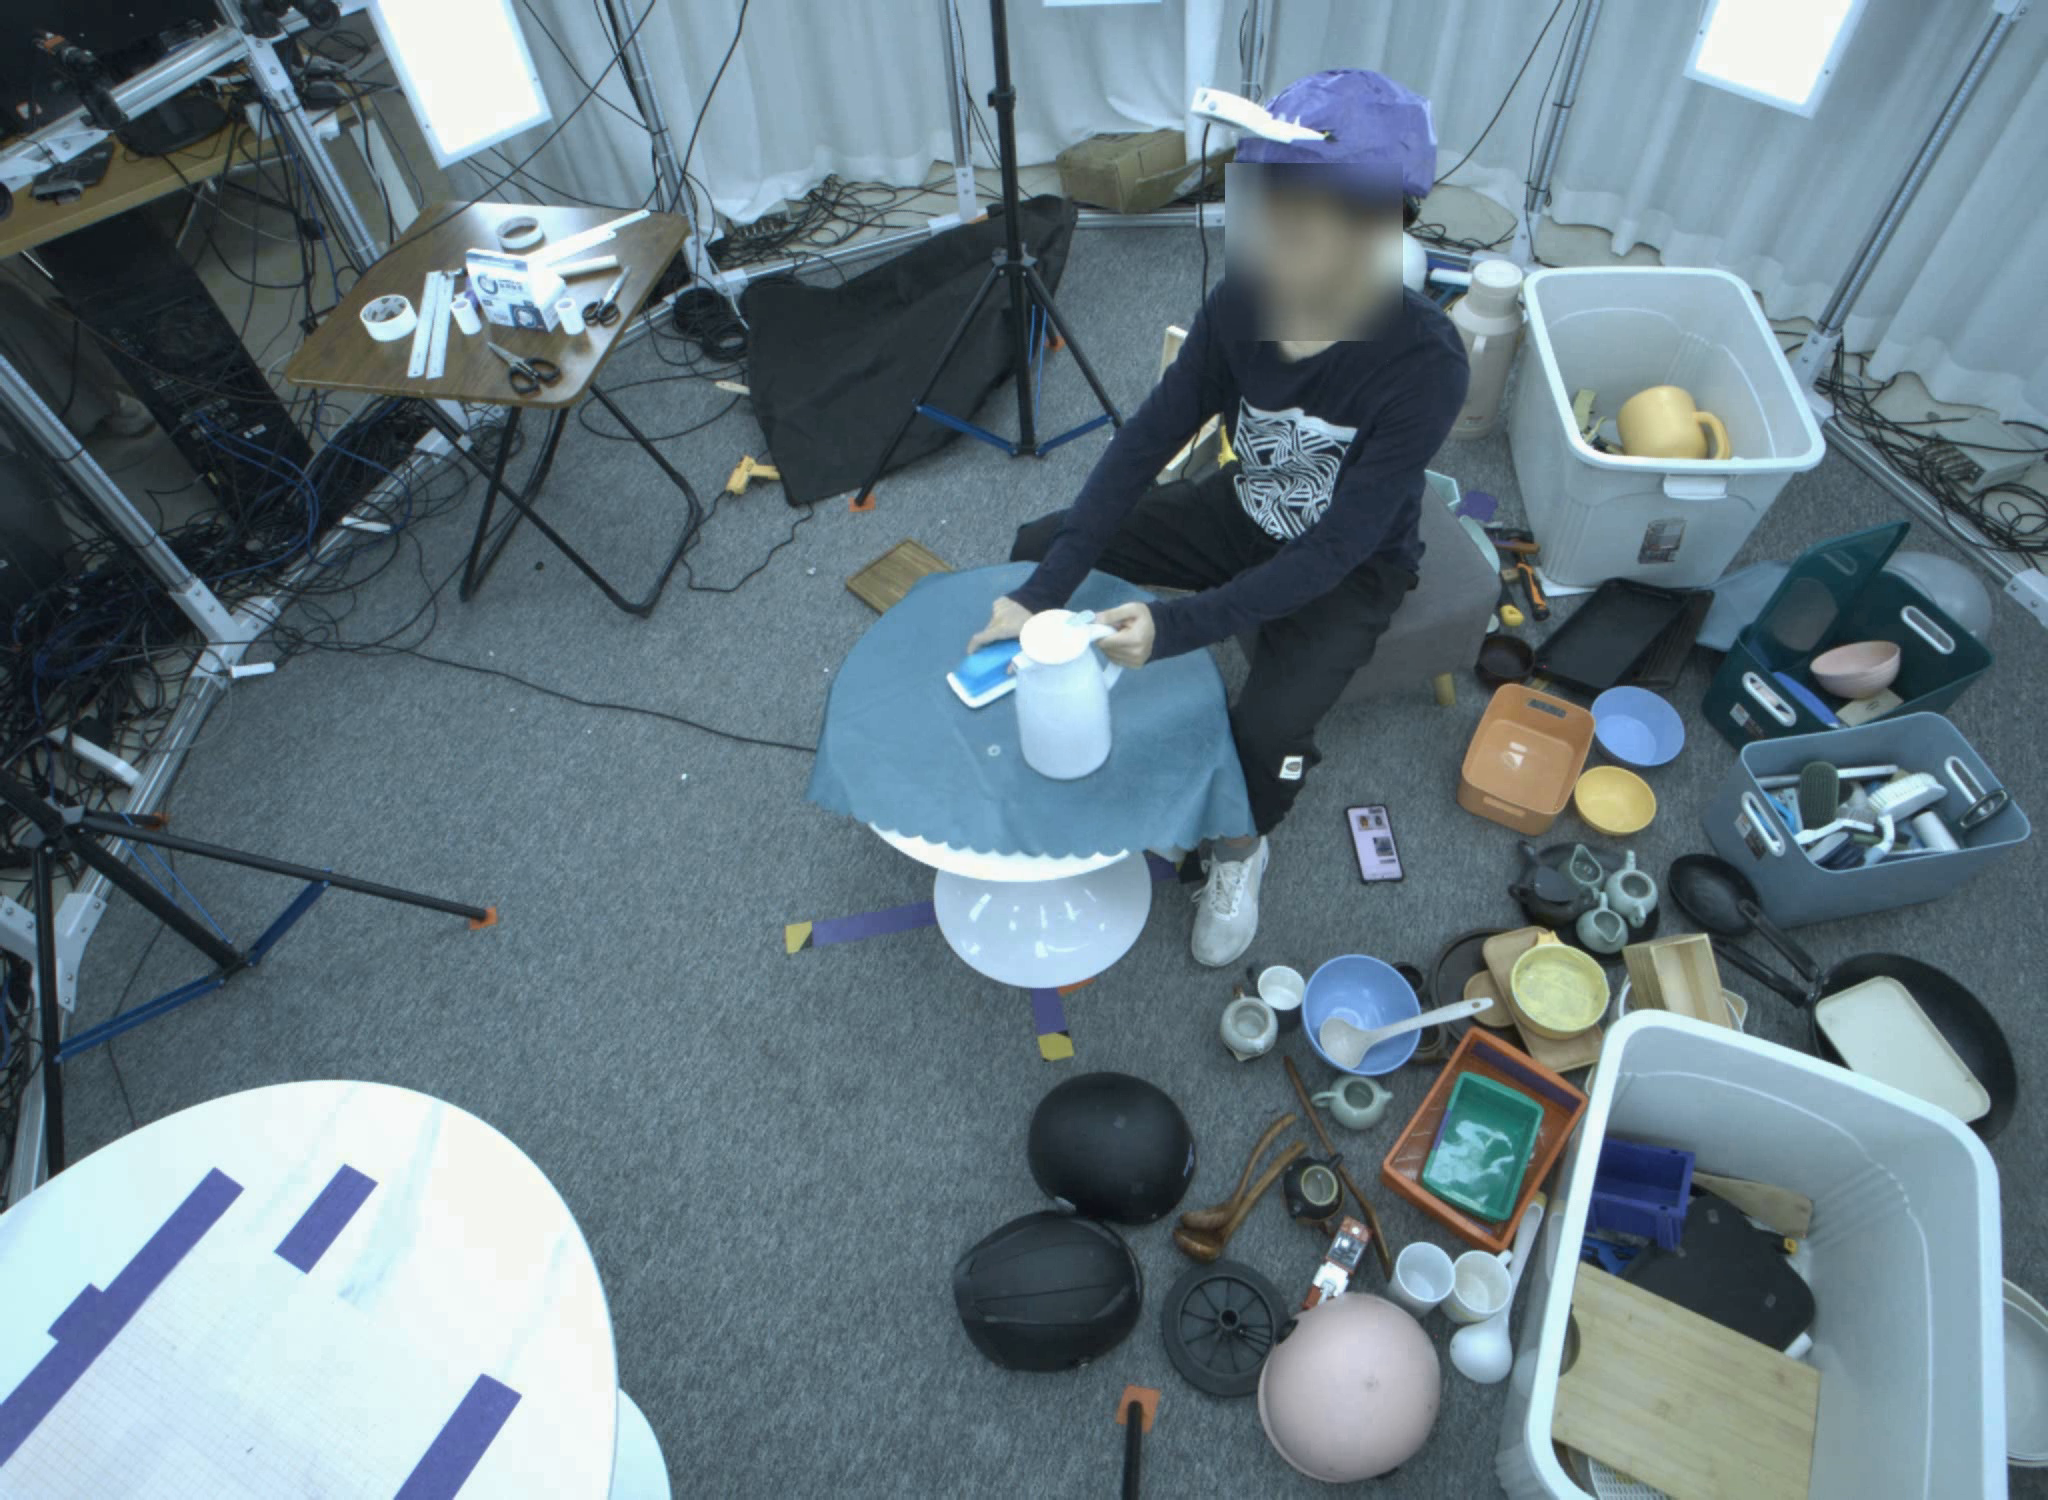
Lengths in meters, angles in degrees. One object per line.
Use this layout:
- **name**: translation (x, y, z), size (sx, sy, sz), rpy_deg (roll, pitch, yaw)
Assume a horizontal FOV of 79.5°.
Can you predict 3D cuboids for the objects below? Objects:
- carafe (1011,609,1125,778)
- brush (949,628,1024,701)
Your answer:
- **carafe**: translation (0.064, -0.092, 1.685), size (0.169, 0.251, 0.130), rpy_deg (-31, 58, -15)
- **brush**: translation (-0.038, -0.136, 1.841), size (0.145, 0.056, 0.082), rpy_deg (-29, 62, -15)
